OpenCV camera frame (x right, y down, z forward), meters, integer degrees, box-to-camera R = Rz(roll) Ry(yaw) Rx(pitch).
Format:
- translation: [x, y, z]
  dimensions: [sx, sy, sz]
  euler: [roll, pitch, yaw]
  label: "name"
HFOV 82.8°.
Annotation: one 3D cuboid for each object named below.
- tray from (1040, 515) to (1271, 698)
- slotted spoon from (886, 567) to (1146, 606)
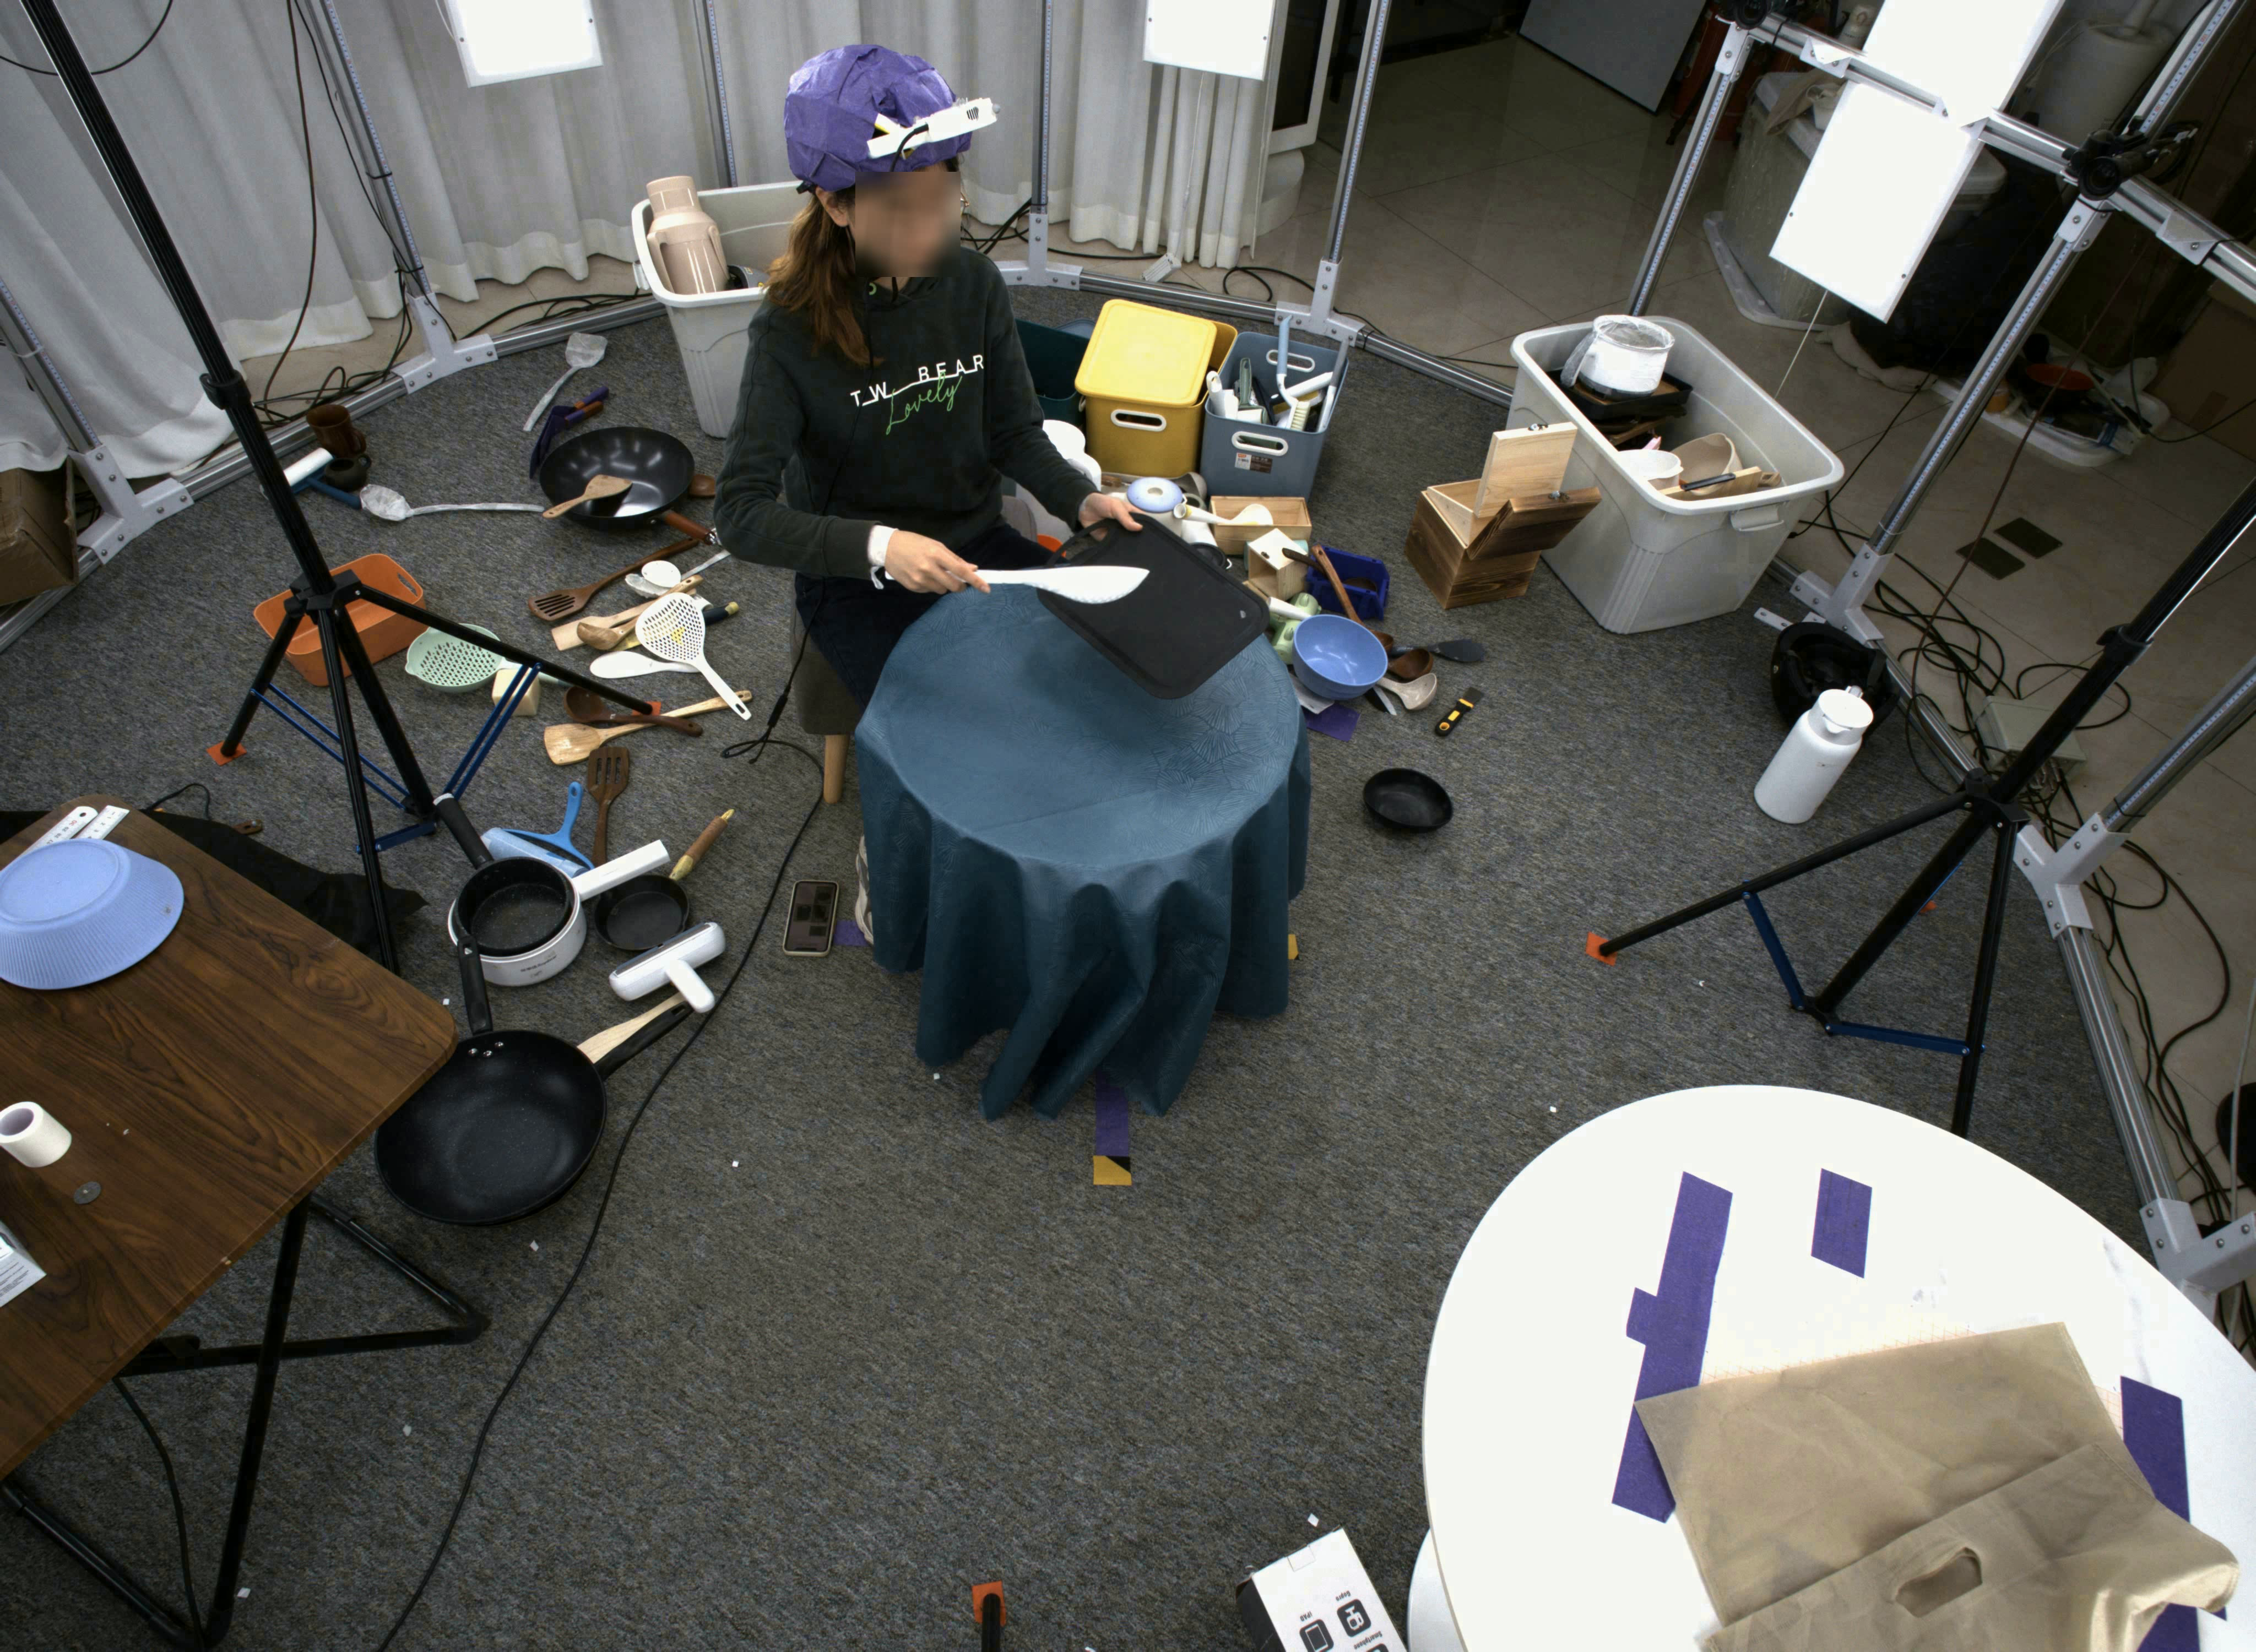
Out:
- translation: [0.028, -0.315, 1.784]
  dimensions: [0.212, 0.009, 0.331]
  euler: [-40, 60, -14]
  label: "tray"
- translation: [-0.149, -0.322, 1.674]
  dimensions: [0.351, 0.045, 0.137]
  euler: [8, 20, 13]
  label: "slotted spoon"
